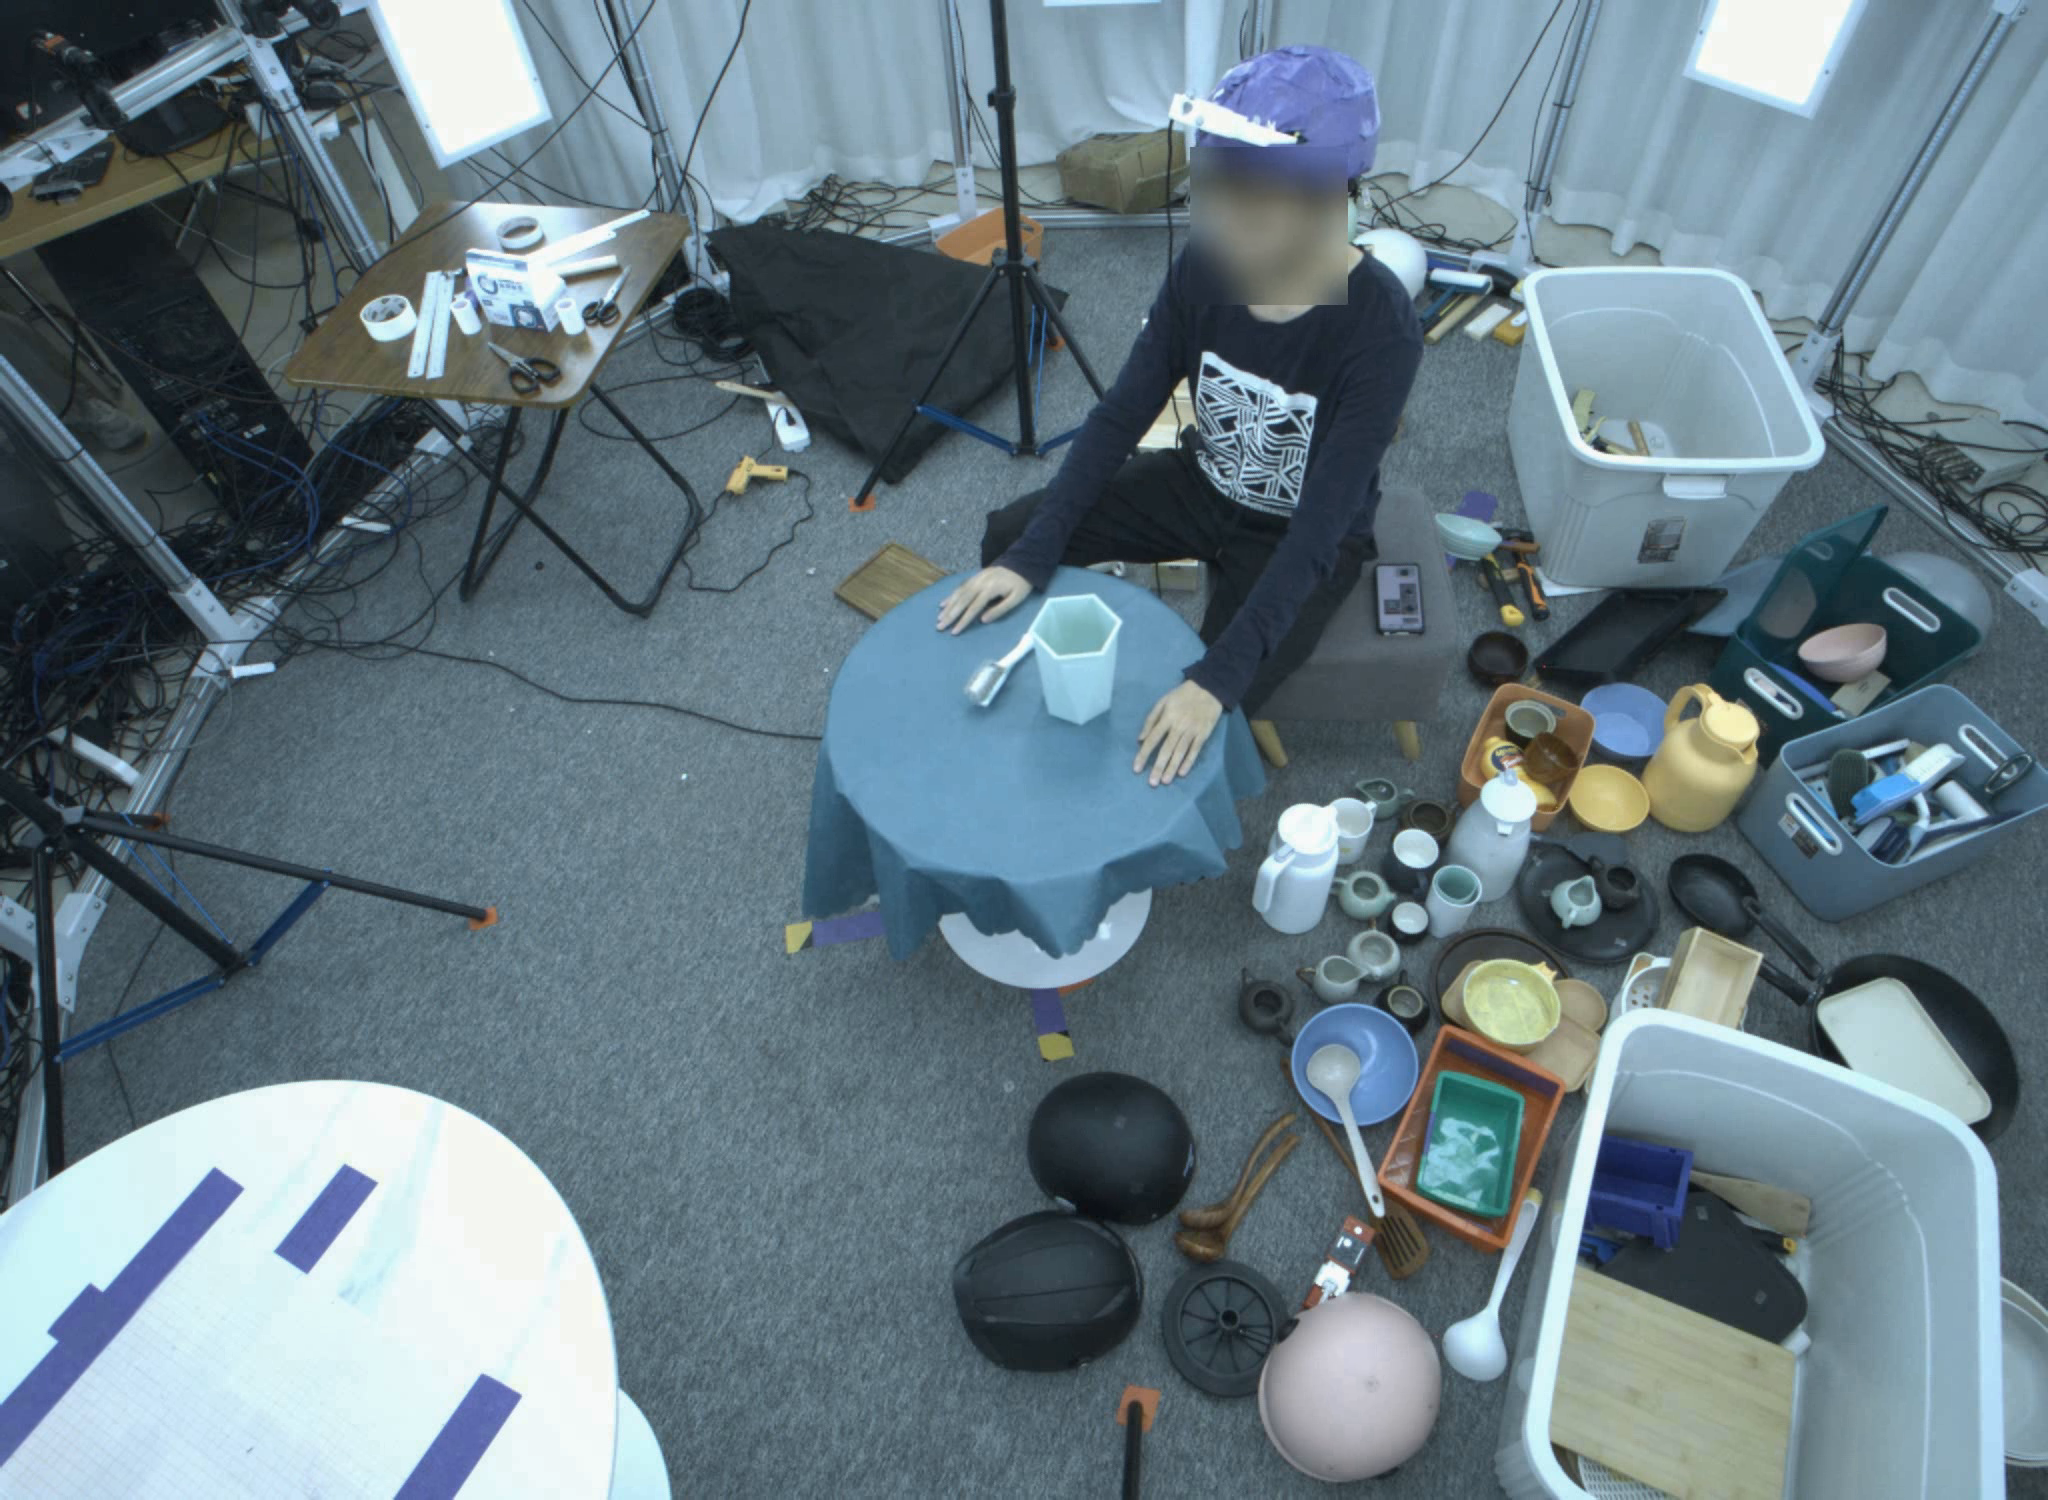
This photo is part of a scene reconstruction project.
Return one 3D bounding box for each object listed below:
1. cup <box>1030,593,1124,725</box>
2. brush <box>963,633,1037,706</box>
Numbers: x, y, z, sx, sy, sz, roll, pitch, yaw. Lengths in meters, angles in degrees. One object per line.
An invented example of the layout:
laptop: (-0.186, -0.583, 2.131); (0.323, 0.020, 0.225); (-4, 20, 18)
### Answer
cup: (0.078, -0.125, 1.765); (0.131, 0.165, 0.113); (-7, 53, -2)
brush: (-0.004, -0.155, 1.861); (0.034, 0.051, 0.245); (32, 61, 24)
